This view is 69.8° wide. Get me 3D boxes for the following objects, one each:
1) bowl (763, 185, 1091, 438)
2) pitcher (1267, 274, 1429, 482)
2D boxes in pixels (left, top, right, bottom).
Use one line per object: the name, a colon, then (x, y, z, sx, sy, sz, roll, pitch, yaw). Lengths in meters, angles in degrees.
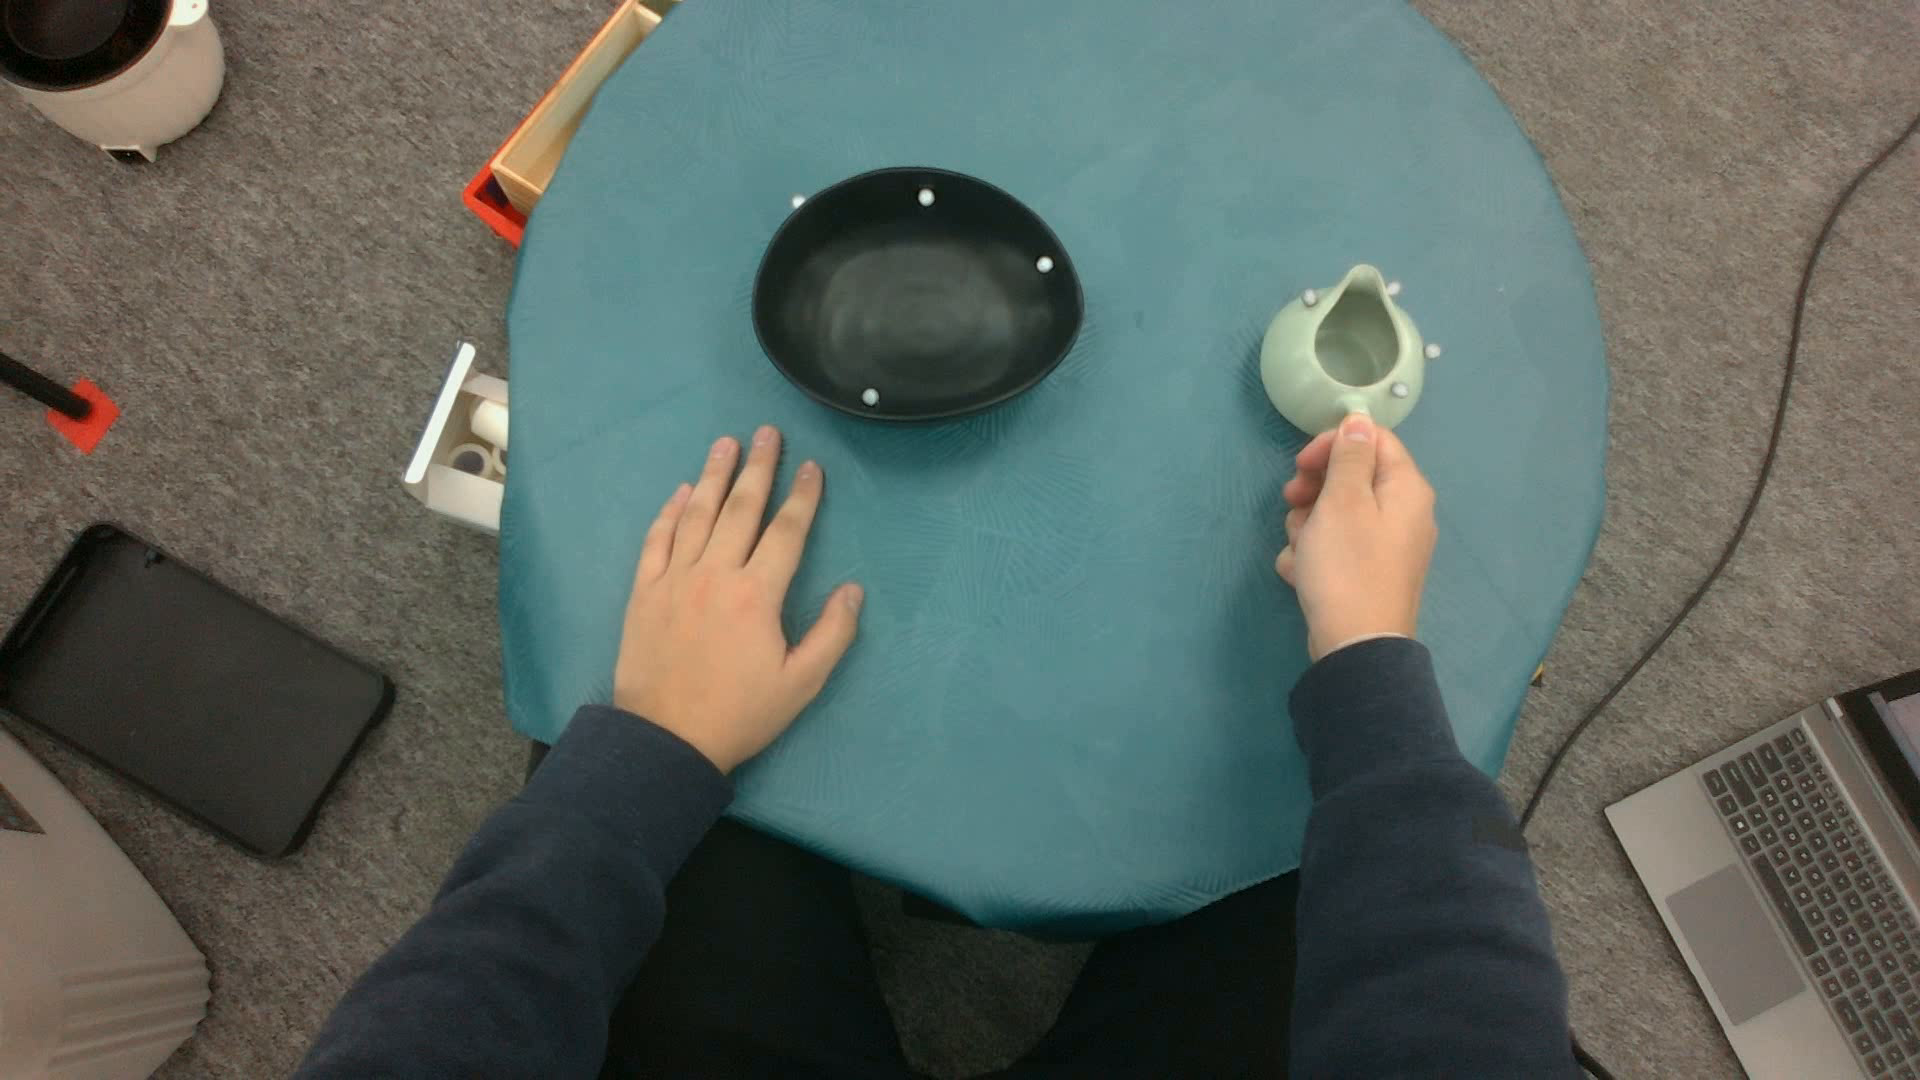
bowl: (-0.017, -0.114, 0.734, 0.170, 0.066, 0.137, -3, 77, -3)
pitcher: (0.209, -0.082, 0.734, 0.086, 0.060, 0.108, 3, 78, 3)
